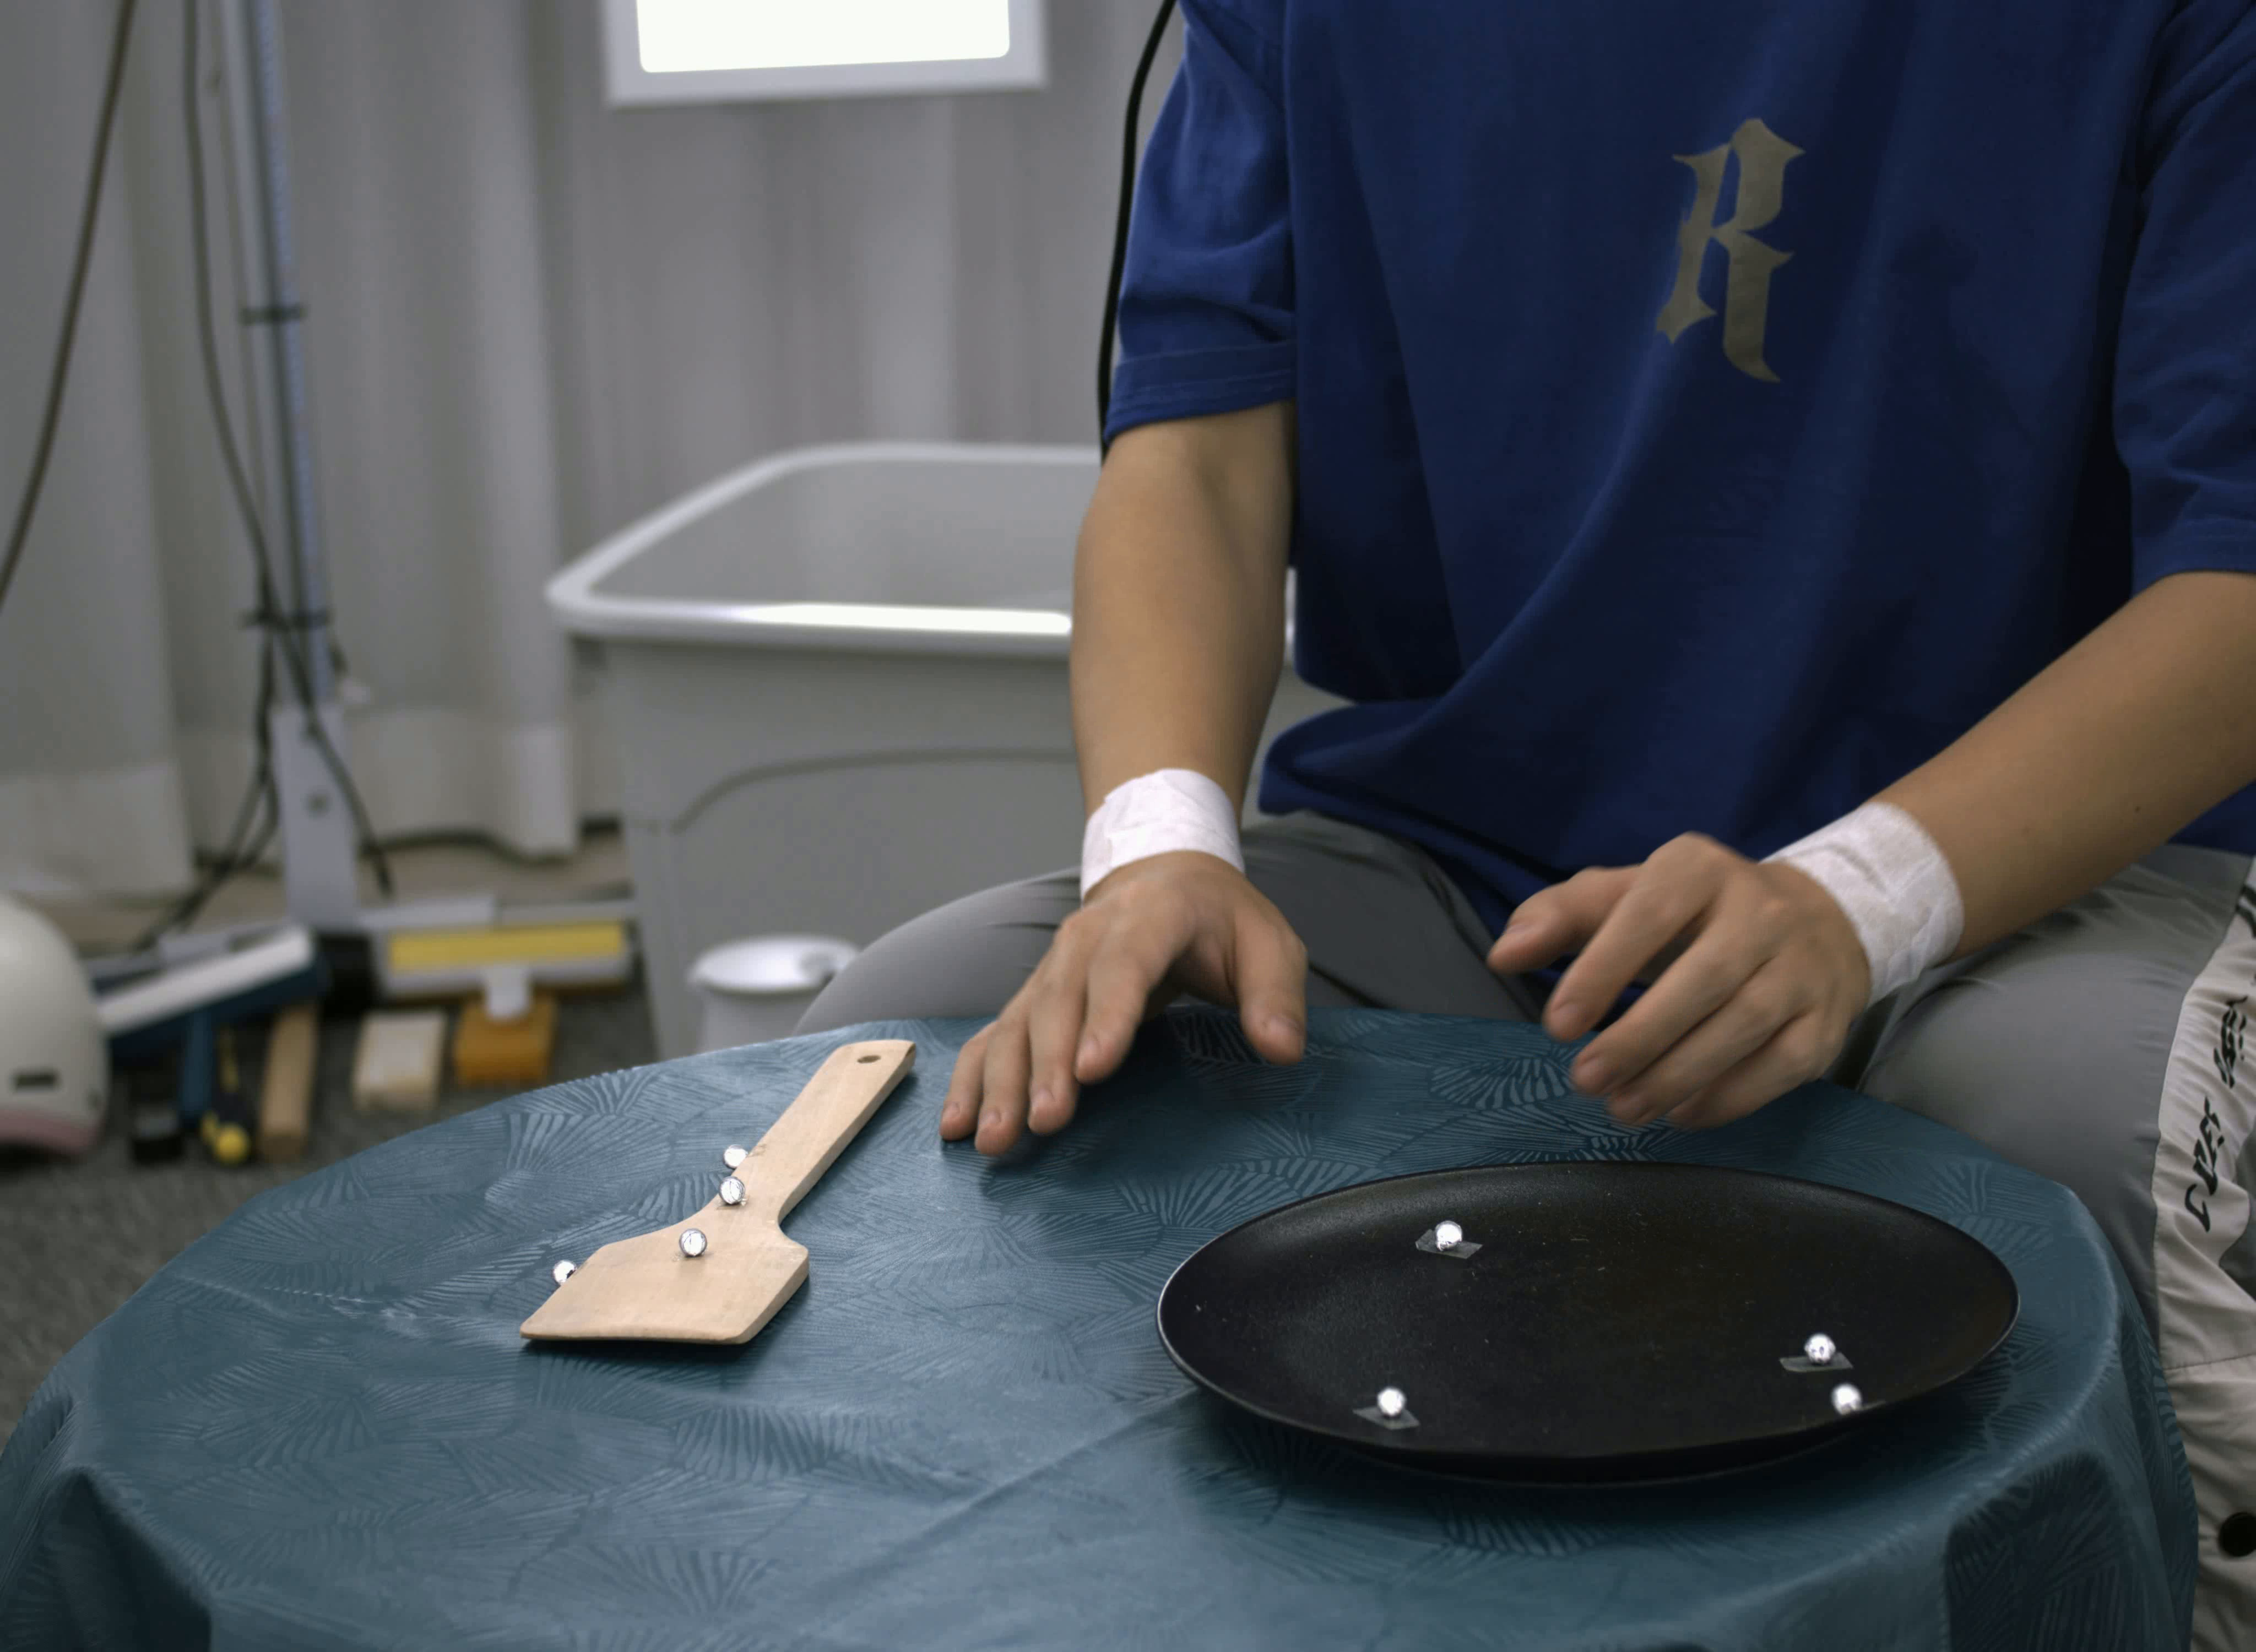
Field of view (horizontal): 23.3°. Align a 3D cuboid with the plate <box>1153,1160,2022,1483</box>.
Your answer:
[{"bbox_3d":[0.128,0.142,1.538,0.243,0.023,0.246,-3,15,0],"label":"plate"}]

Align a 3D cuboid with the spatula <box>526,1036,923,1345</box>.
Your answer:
[{"bbox_3d":[-0.113,0.113,1.722,0.072,0.010,0.294,-1,15,13],"label":"spatula"}]
